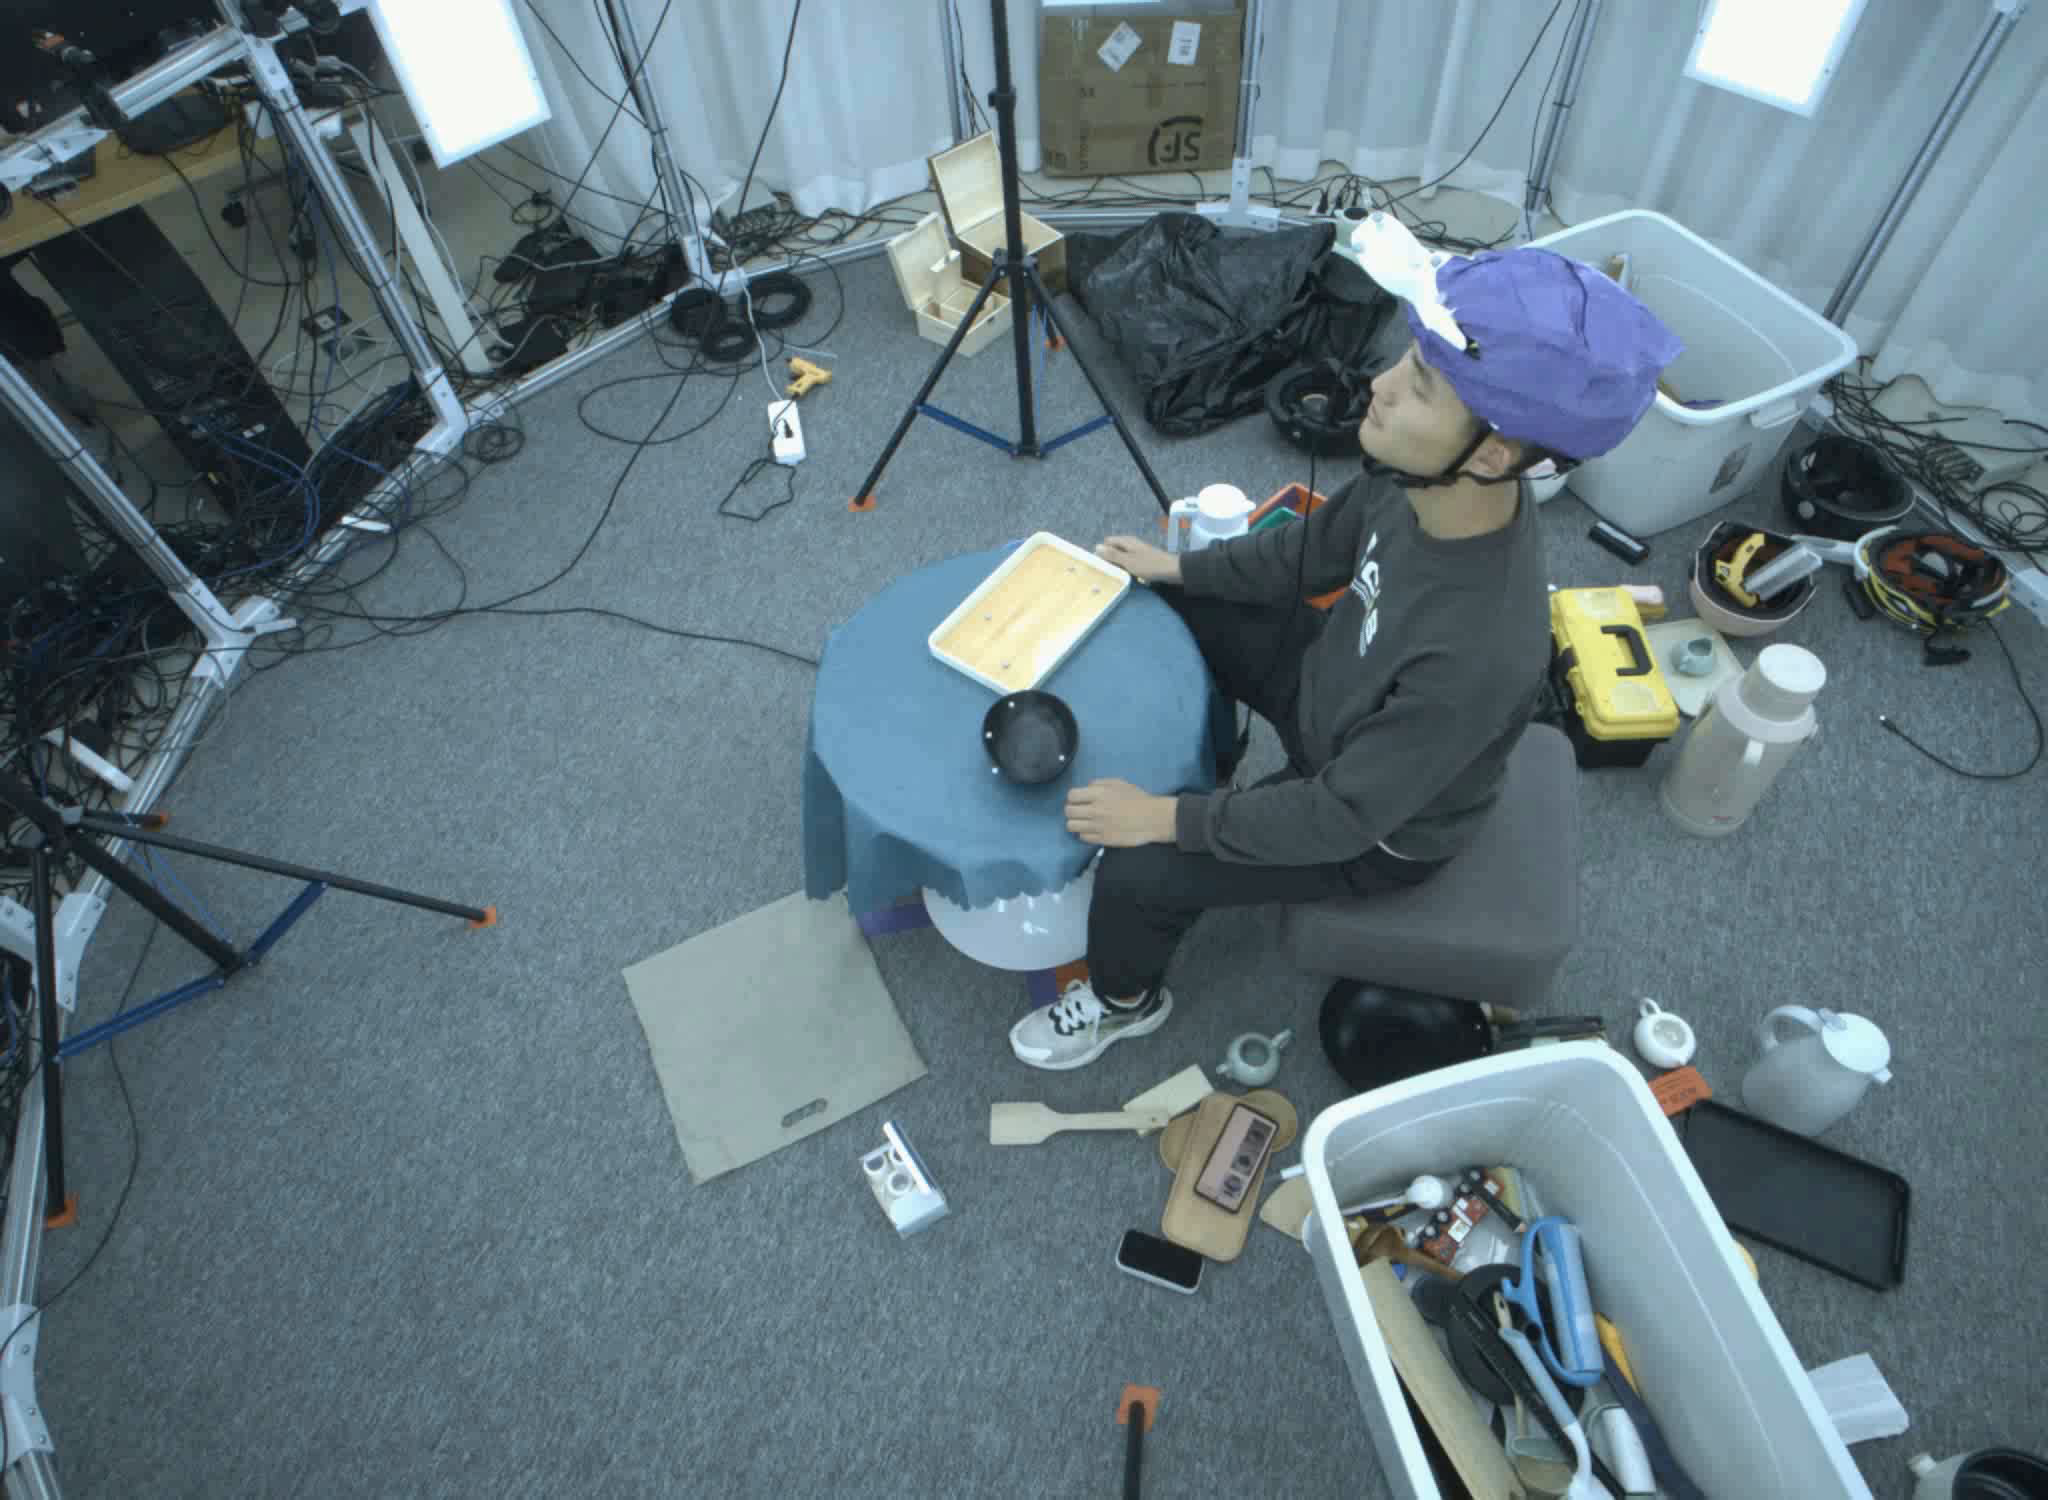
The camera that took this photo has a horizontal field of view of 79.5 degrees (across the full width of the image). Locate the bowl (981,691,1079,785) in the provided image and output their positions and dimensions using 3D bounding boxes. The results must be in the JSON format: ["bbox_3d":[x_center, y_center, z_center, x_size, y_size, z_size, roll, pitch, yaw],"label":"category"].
[{"bbox_3d":[0.009,-0.010,1.754,0.138,0.067,0.168,-6,53,-4],"label":"bowl"}]

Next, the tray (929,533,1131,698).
[{"bbox_3d":[0.012,-0.213,1.920,0.188,0.028,0.302,30,61,21],"label":"tray"}]
